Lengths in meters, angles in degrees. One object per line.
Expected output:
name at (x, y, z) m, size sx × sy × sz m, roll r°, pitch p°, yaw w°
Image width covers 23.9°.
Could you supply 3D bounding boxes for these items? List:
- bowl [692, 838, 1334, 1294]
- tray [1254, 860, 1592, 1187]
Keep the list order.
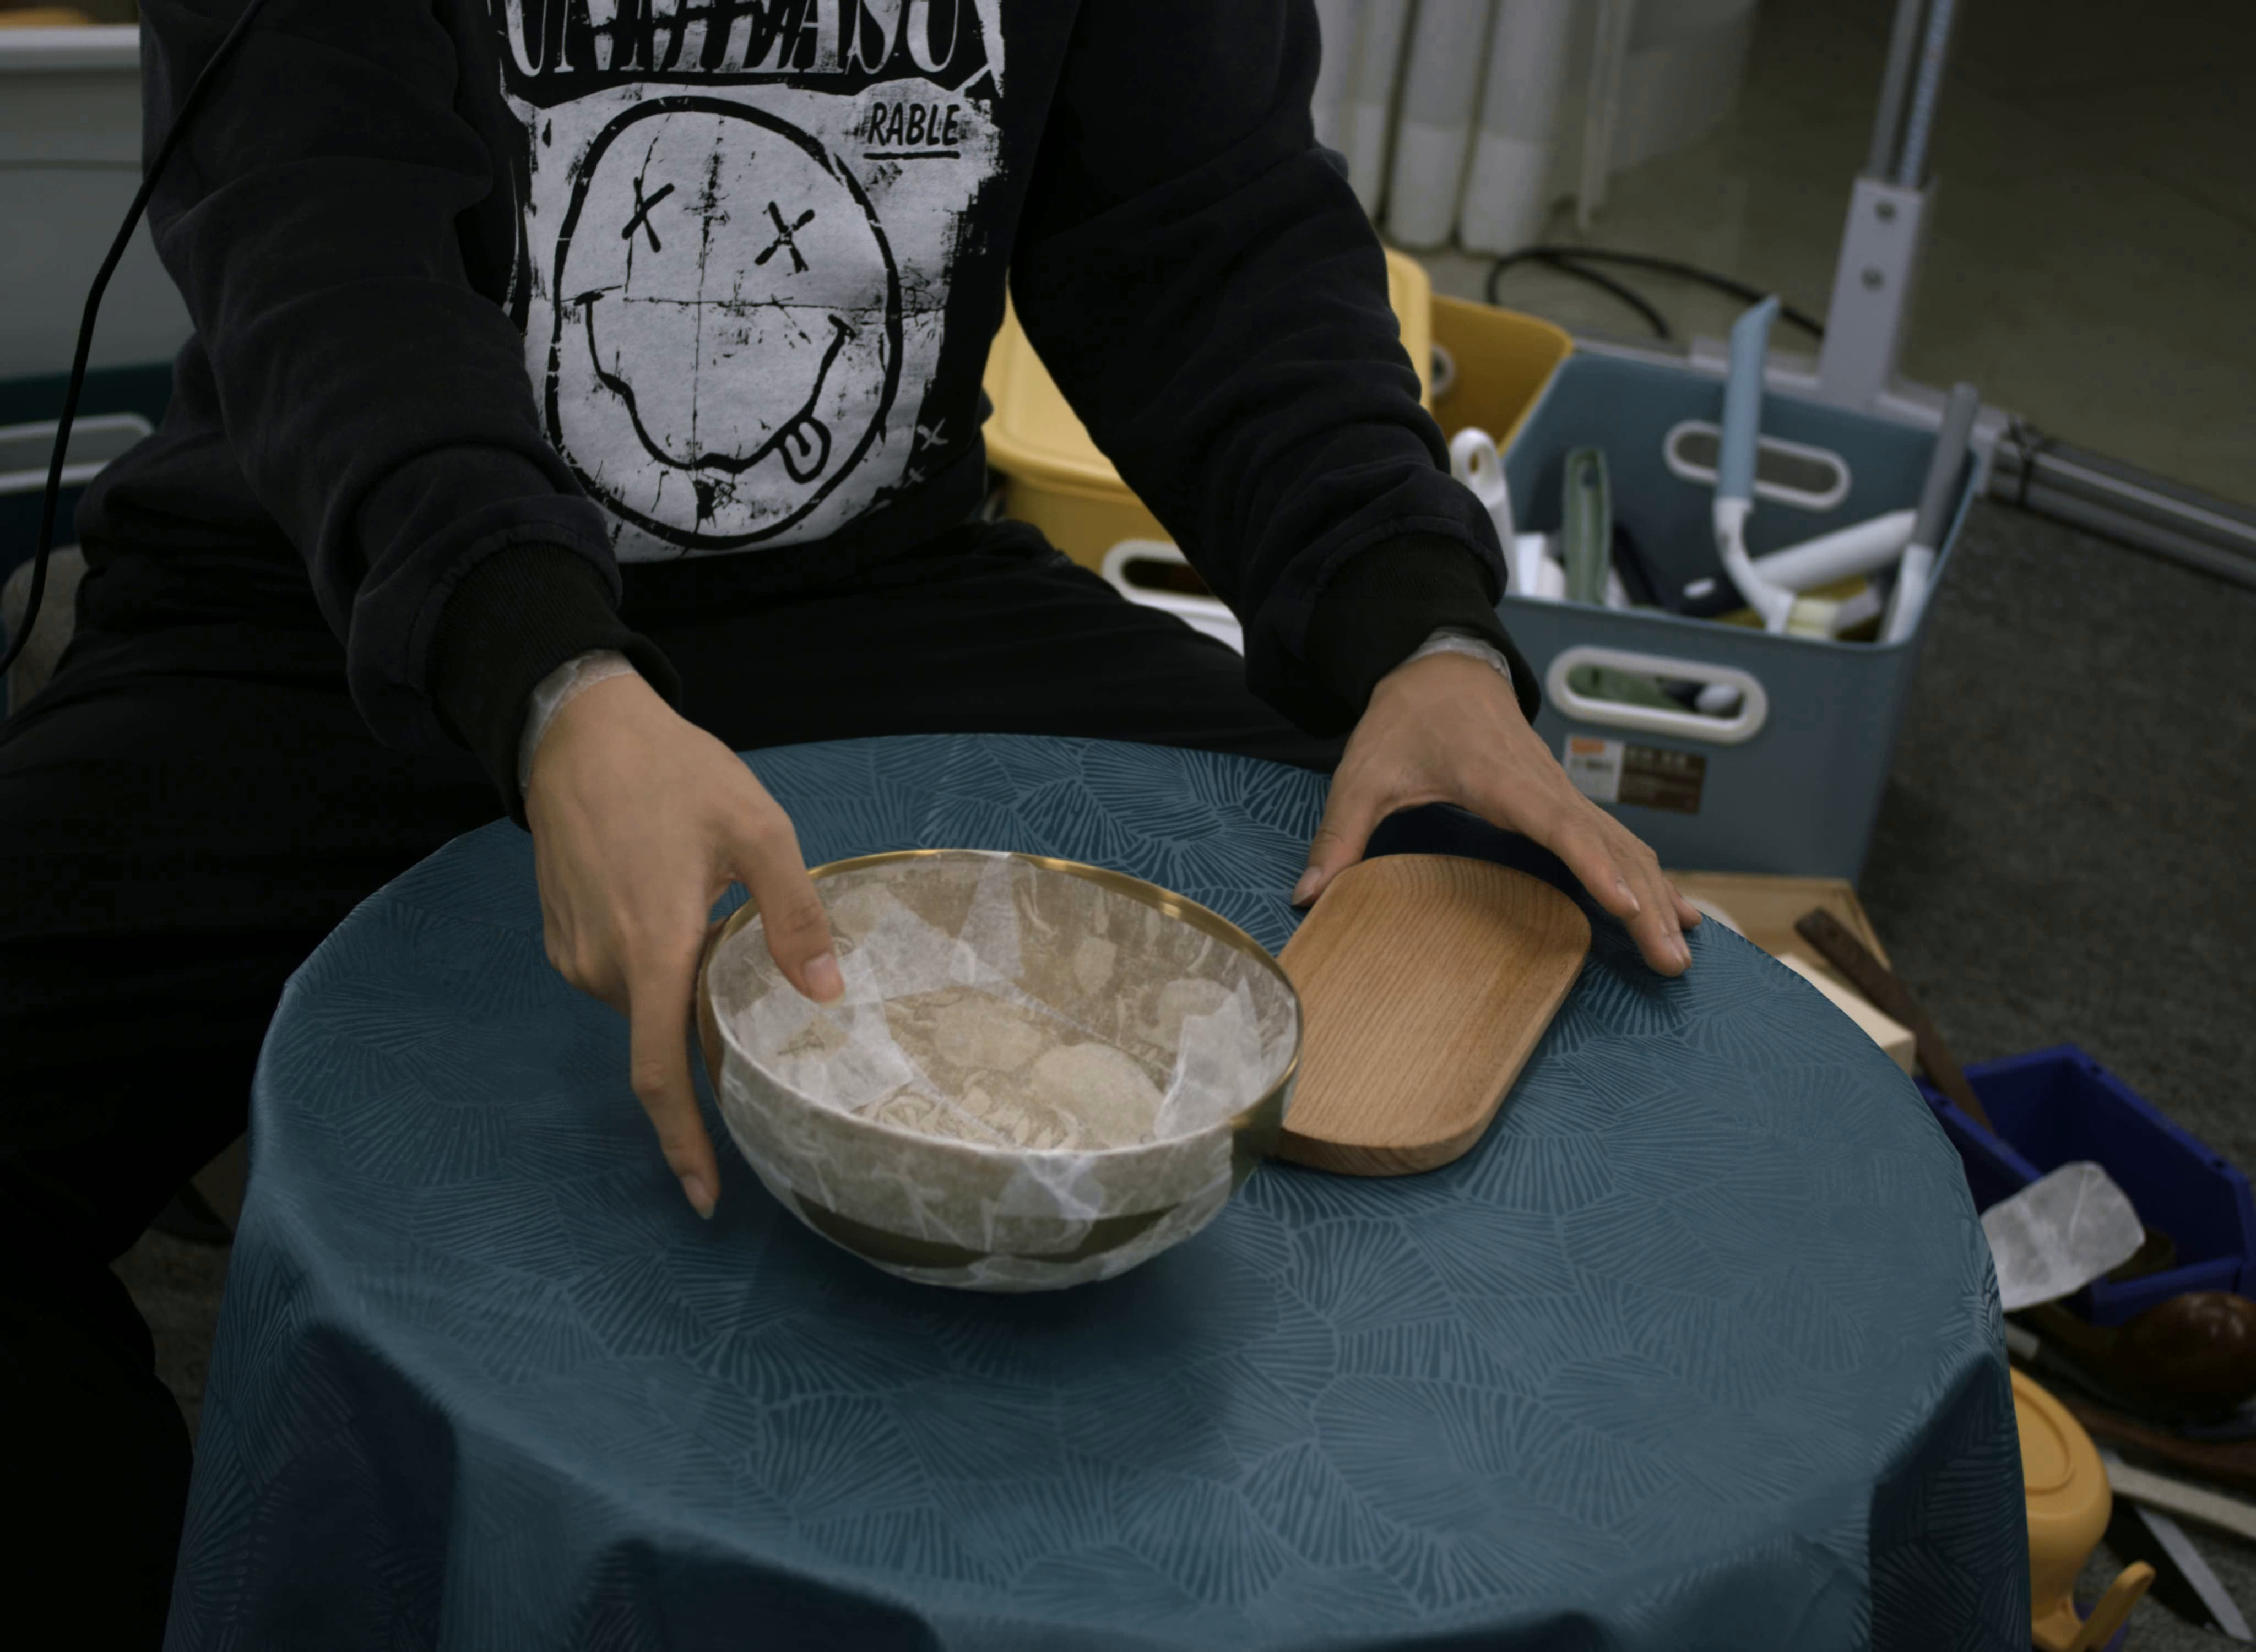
bowl at (-0.042, 0.091, 1.752) m, size 0.214 × 0.094 × 0.216 m, roll 4°, pitch 27°, yaw -3°
tray at (0.101, 0.069, 1.915) m, size 0.102 × 0.020 × 0.231 m, roll 11°, pitch 29°, yaw 15°
